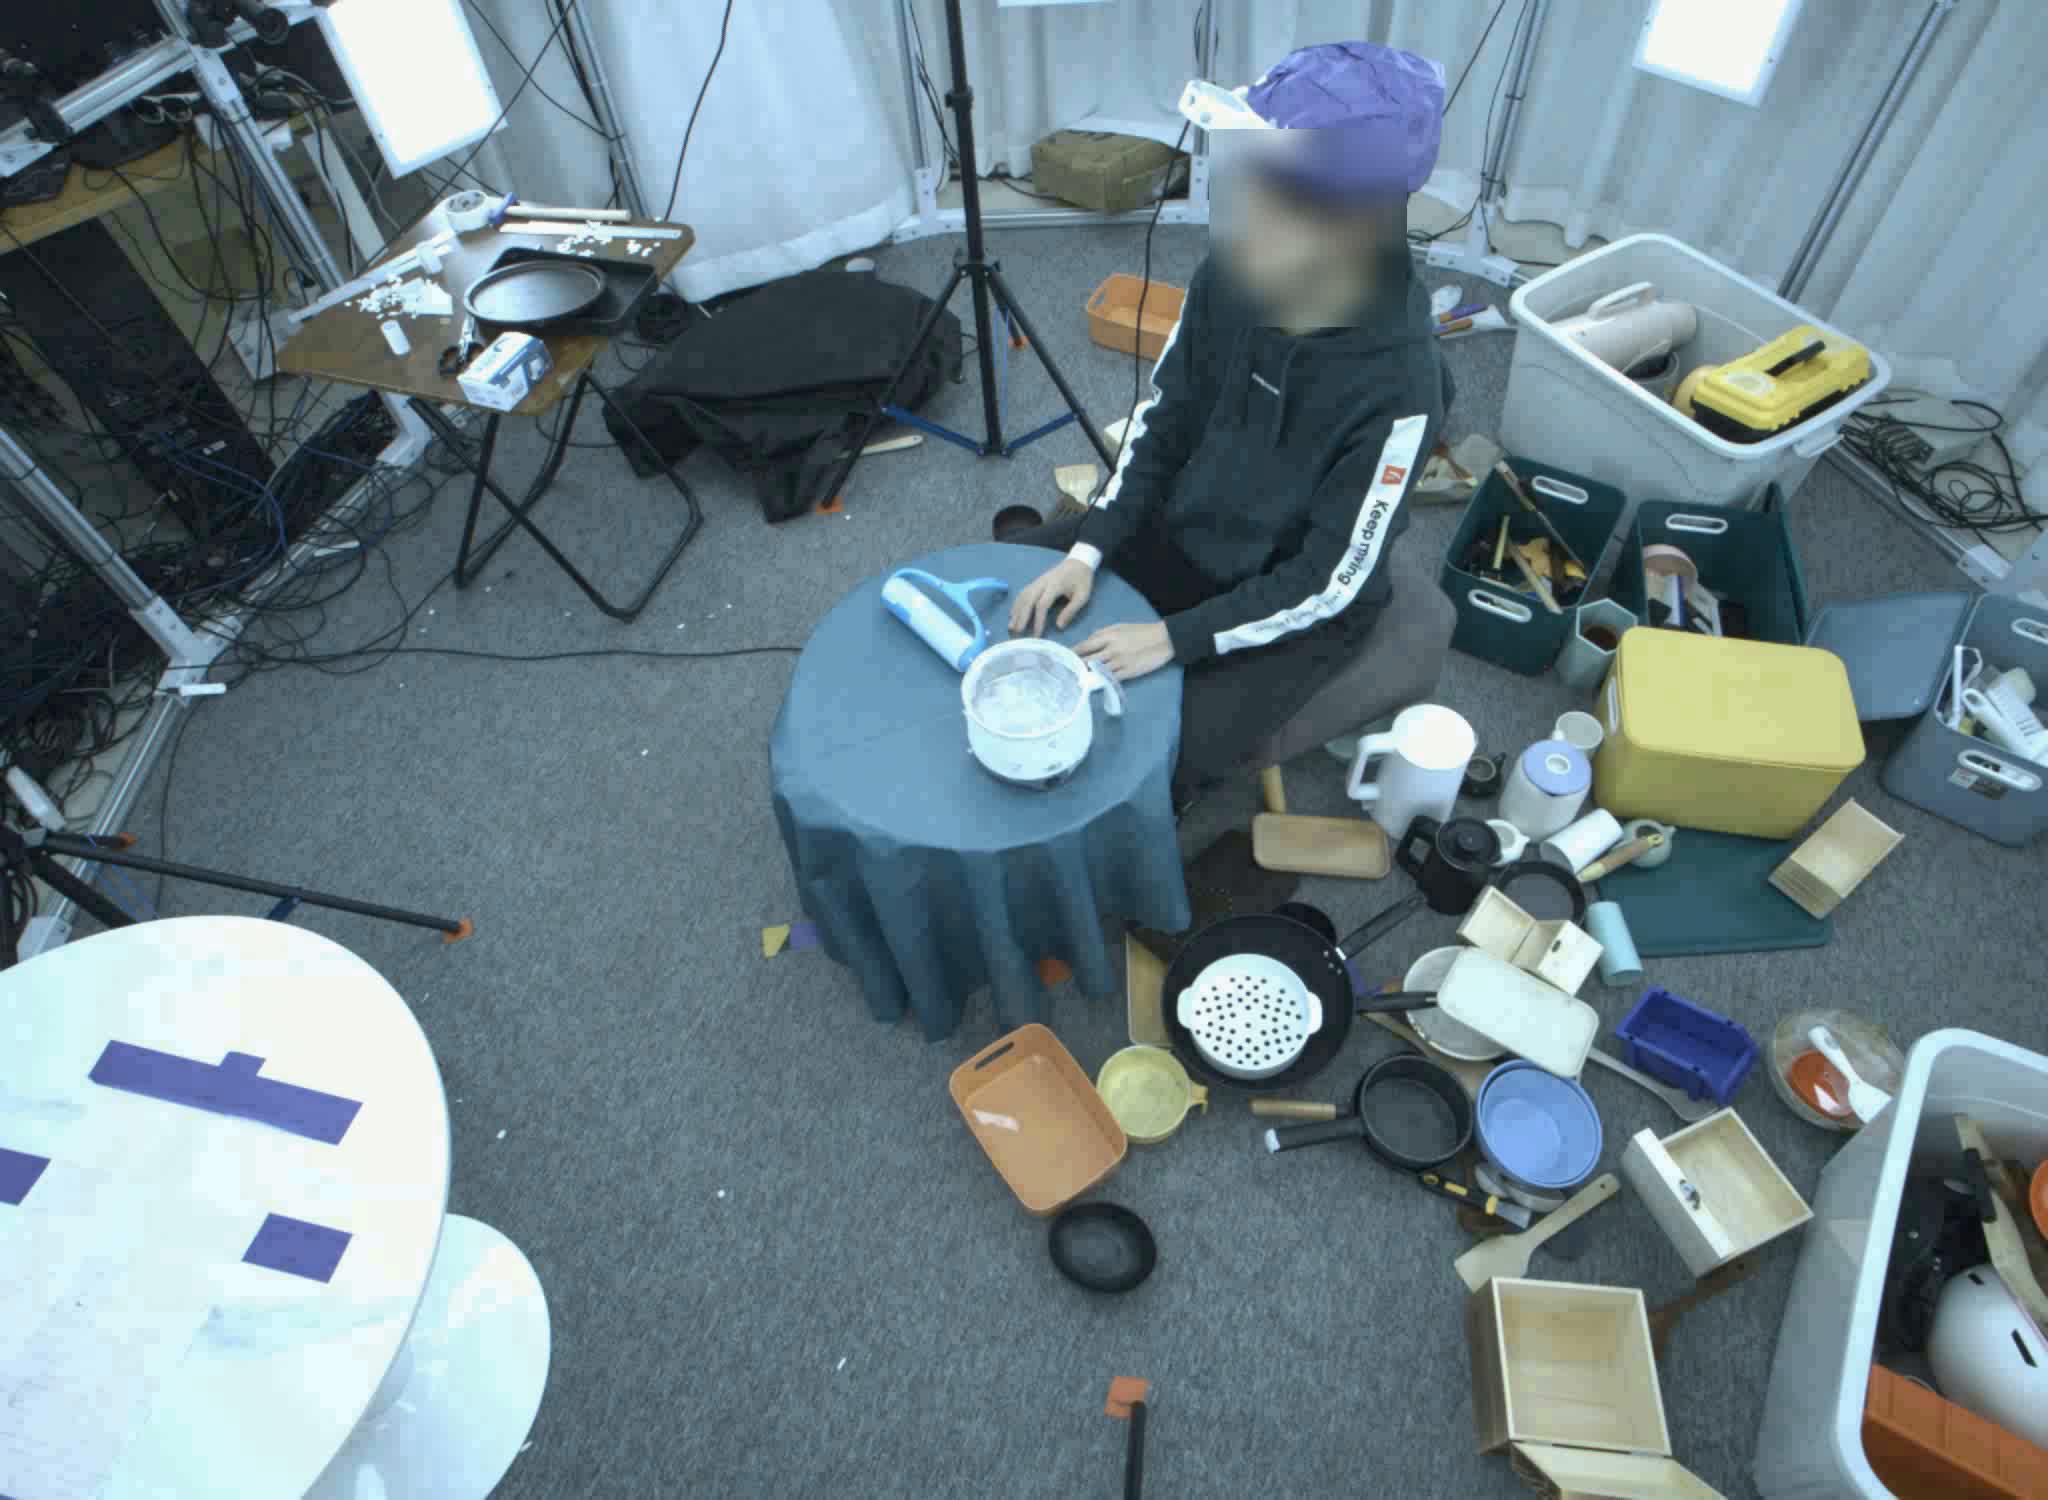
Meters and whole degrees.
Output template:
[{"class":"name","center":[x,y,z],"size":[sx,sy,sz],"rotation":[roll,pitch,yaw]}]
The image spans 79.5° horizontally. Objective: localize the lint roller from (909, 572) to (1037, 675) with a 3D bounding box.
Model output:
[{"class":"lint roller","center":[-0.056,-0.225,1.910],"size":[0.181,0.069,0.224],"rotation":[-39,60,-22]}]

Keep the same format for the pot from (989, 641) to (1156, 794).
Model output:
[{"class":"pot","center":[0.072,-0.053,1.730],"size":[0.235,0.138,0.175],"rotation":[-19,56,-9]}]
